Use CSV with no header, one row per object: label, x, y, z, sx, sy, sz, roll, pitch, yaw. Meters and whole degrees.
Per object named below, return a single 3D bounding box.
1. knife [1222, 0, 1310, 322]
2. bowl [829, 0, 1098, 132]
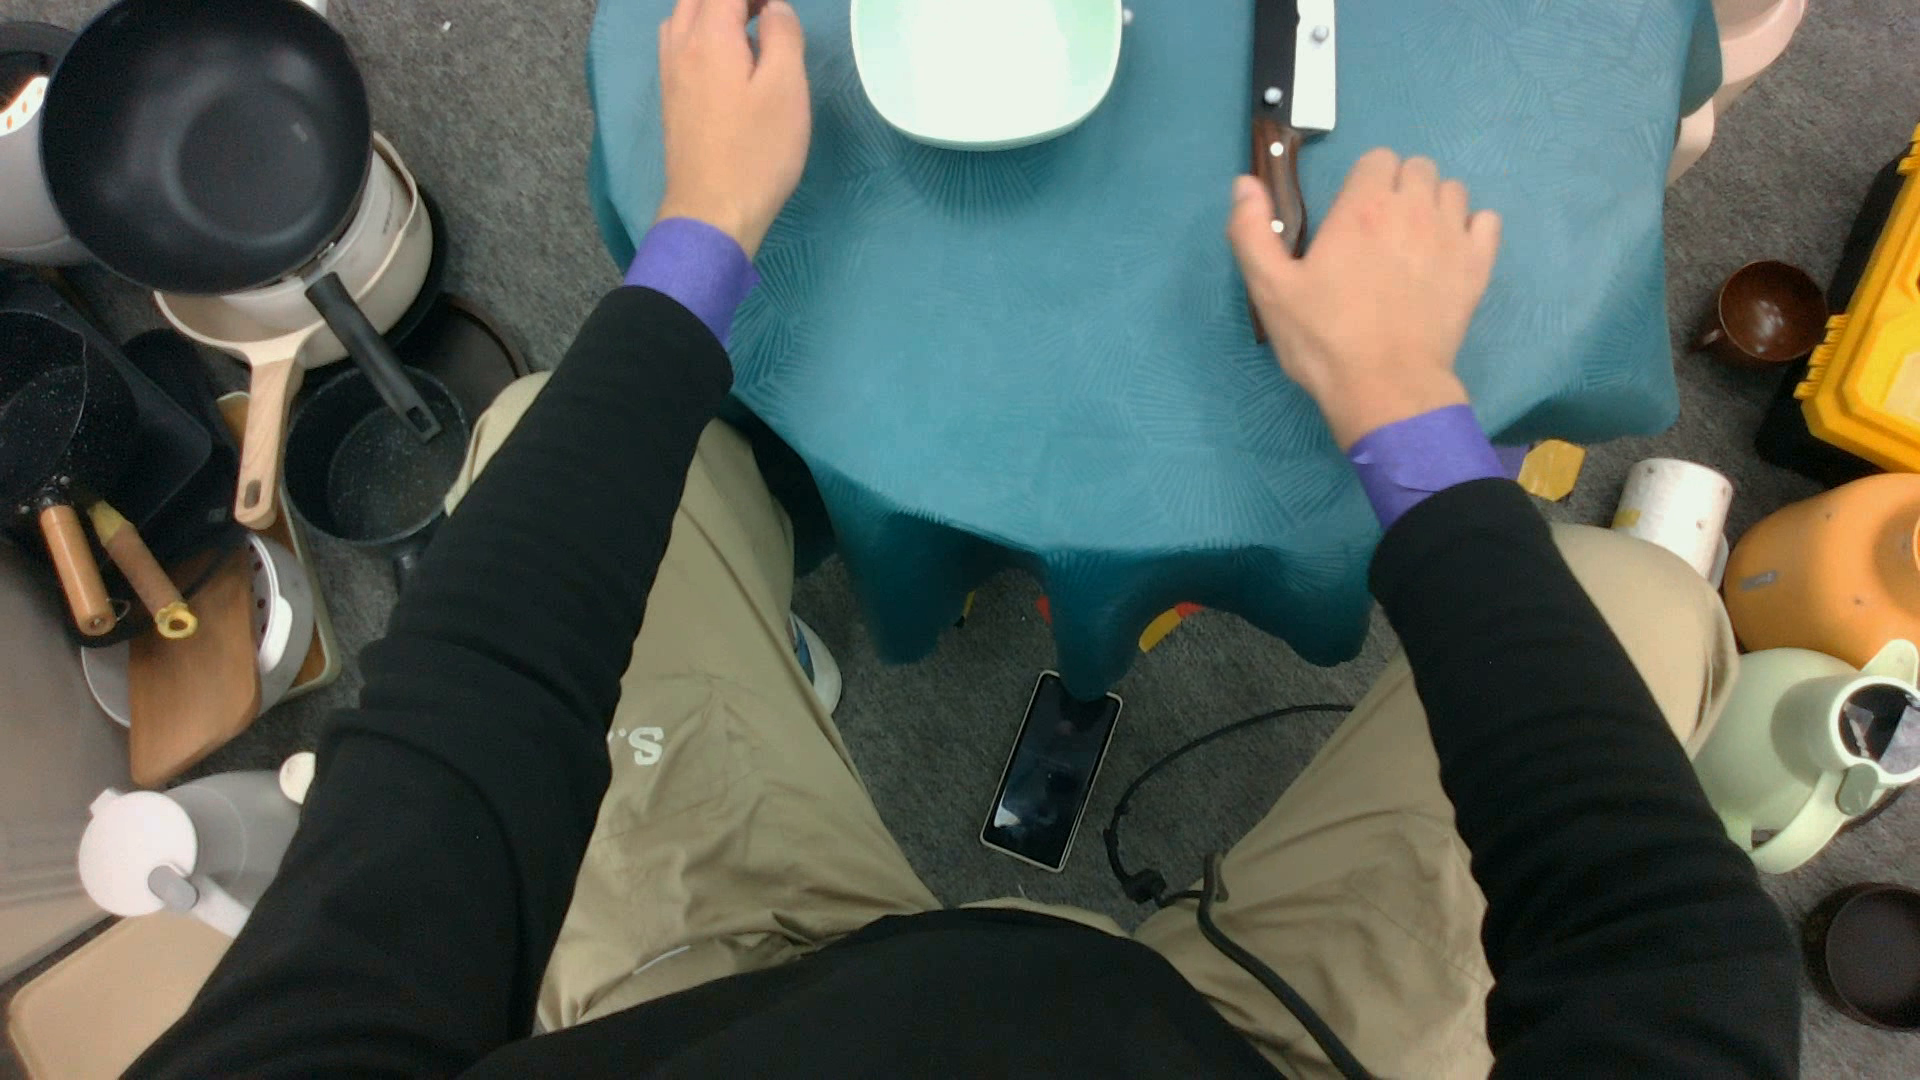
knife,0.165,-0.253,0.745,0.050,0.020,0.289,6,77,-2
bowl,0.002,-0.273,0.734,0.151,0.058,0.152,0,78,2
